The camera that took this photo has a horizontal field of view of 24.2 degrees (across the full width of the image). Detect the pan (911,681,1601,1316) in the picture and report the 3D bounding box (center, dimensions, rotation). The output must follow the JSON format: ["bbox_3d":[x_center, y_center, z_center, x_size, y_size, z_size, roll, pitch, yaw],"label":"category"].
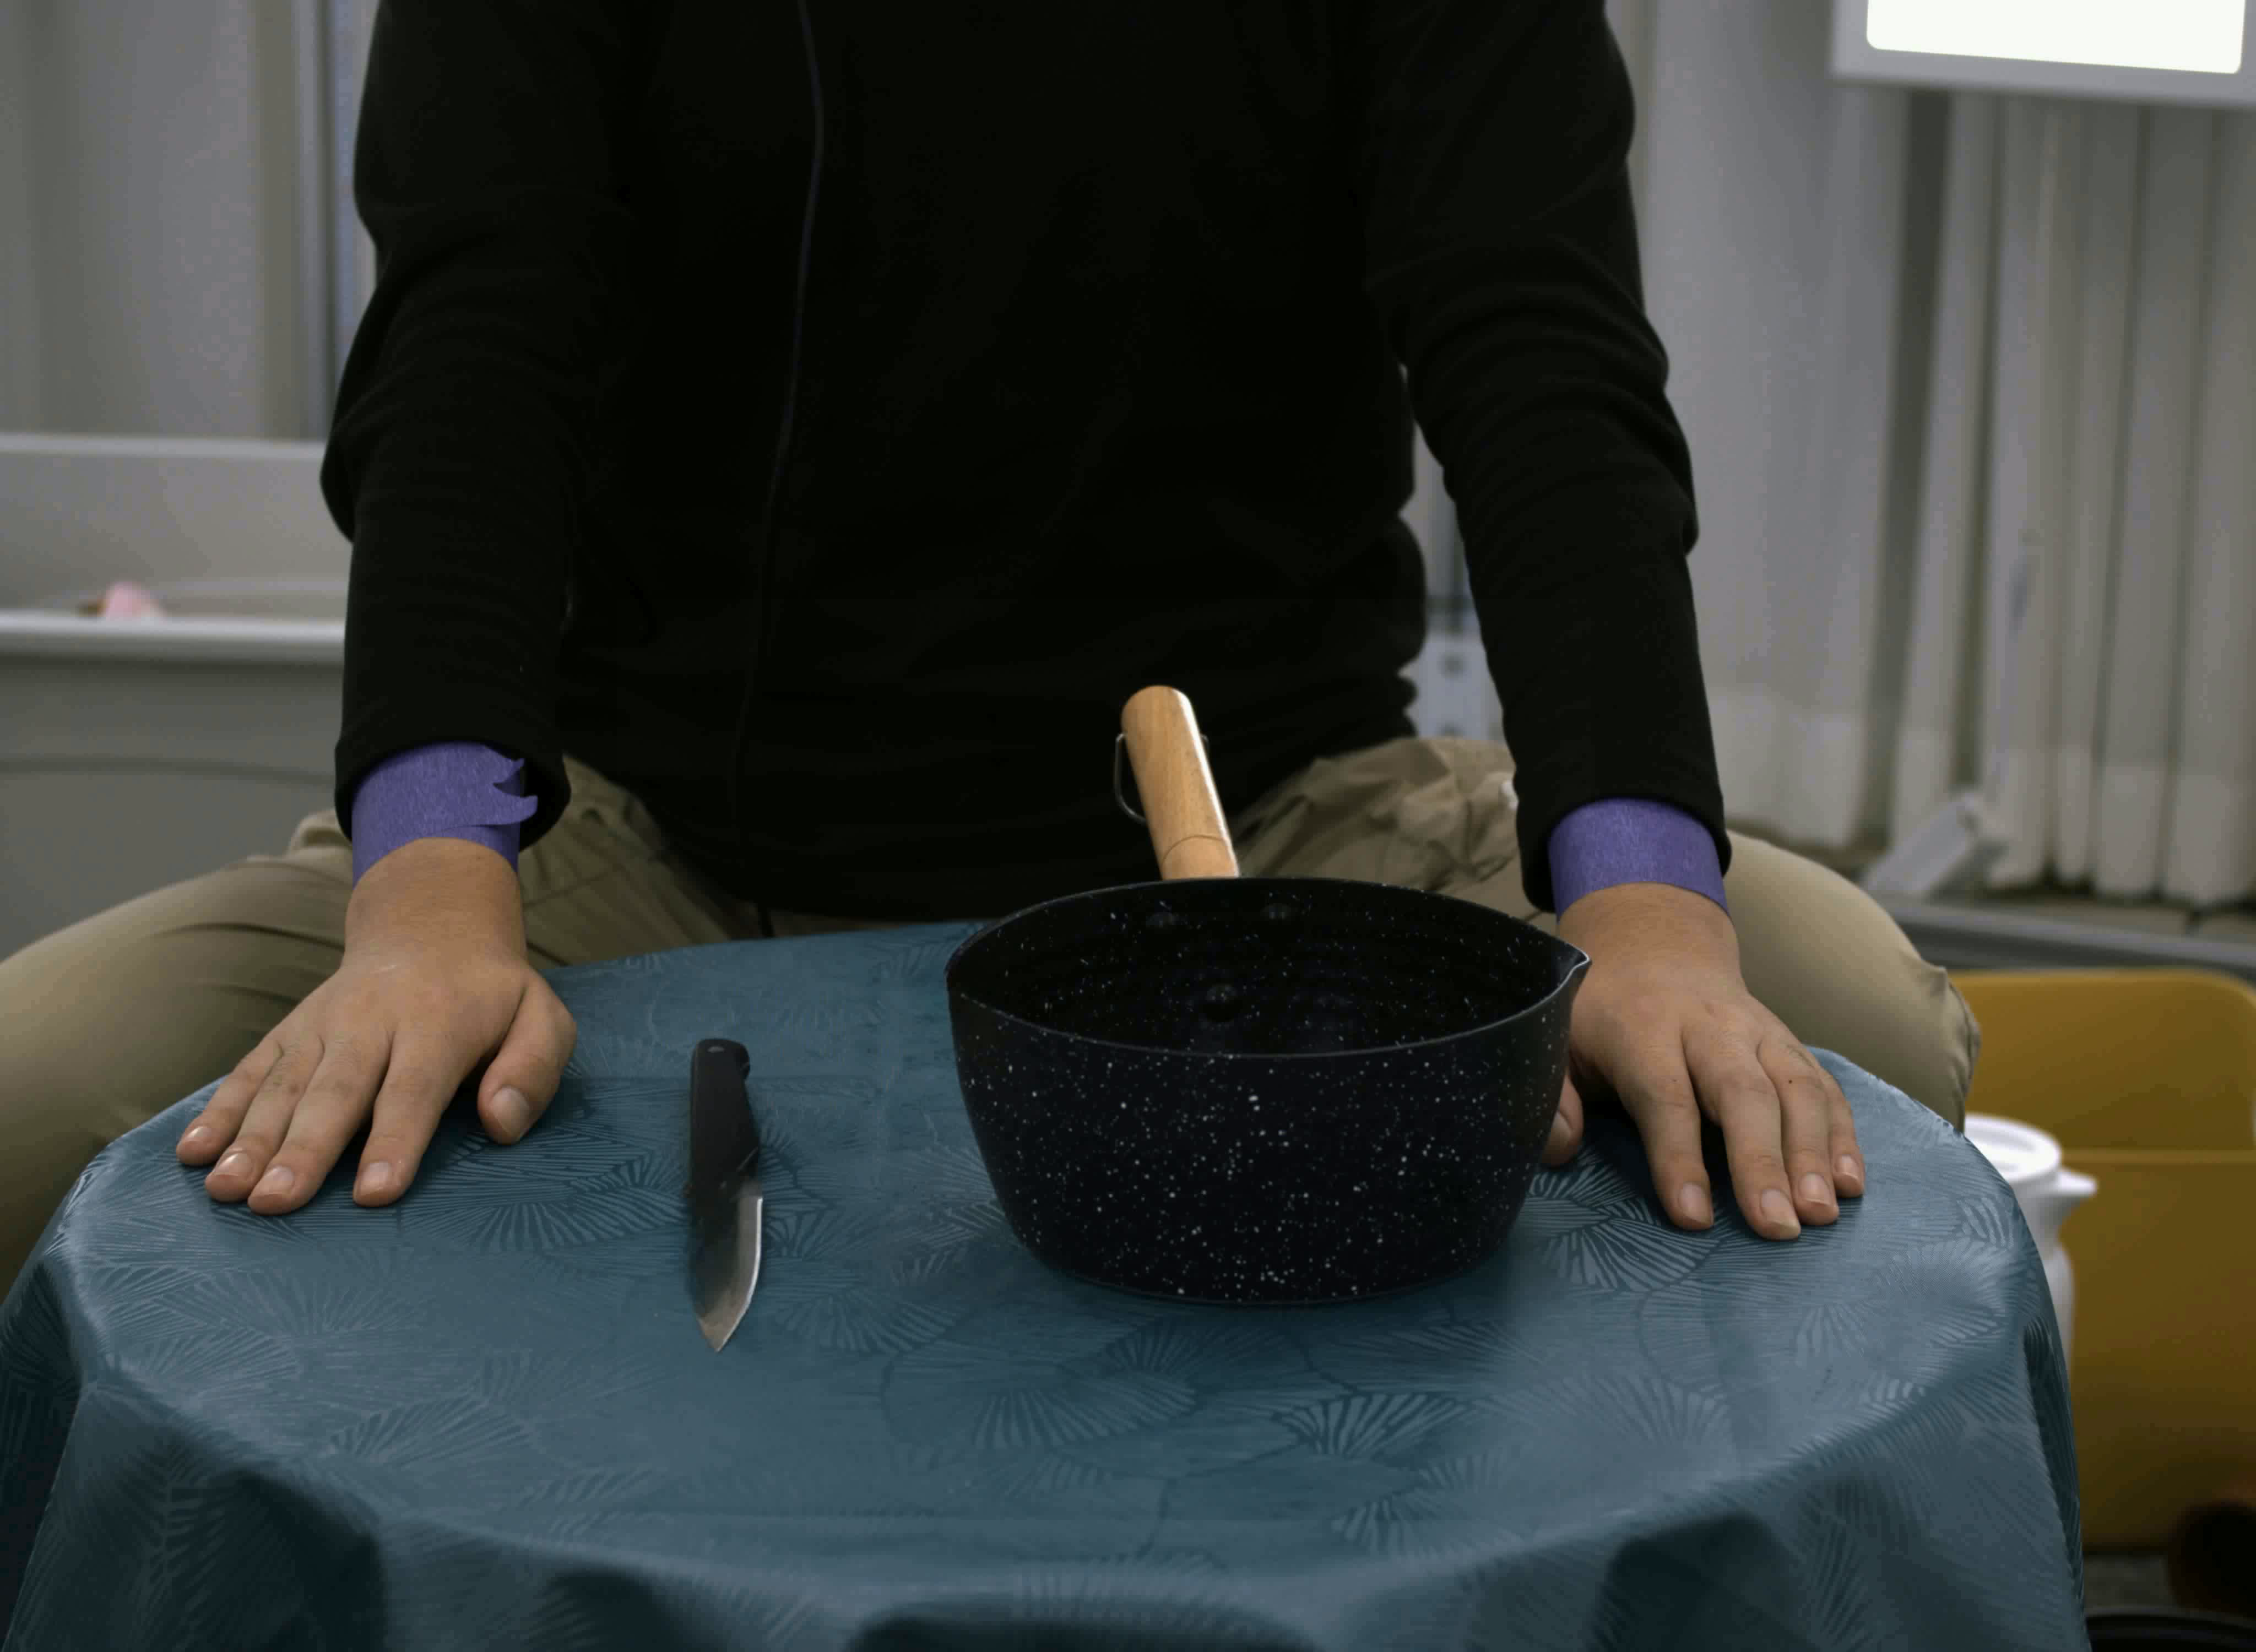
[{"bbox_3d":[0.029,0.049,1.654,0.207,0.109,0.340,-2,17,-8],"label":"pan"}]

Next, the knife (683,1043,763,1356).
[{"bbox_3d":[-0.123,0.112,1.598,0.024,0.016,0.236,0,18,-4],"label":"knife"}]
